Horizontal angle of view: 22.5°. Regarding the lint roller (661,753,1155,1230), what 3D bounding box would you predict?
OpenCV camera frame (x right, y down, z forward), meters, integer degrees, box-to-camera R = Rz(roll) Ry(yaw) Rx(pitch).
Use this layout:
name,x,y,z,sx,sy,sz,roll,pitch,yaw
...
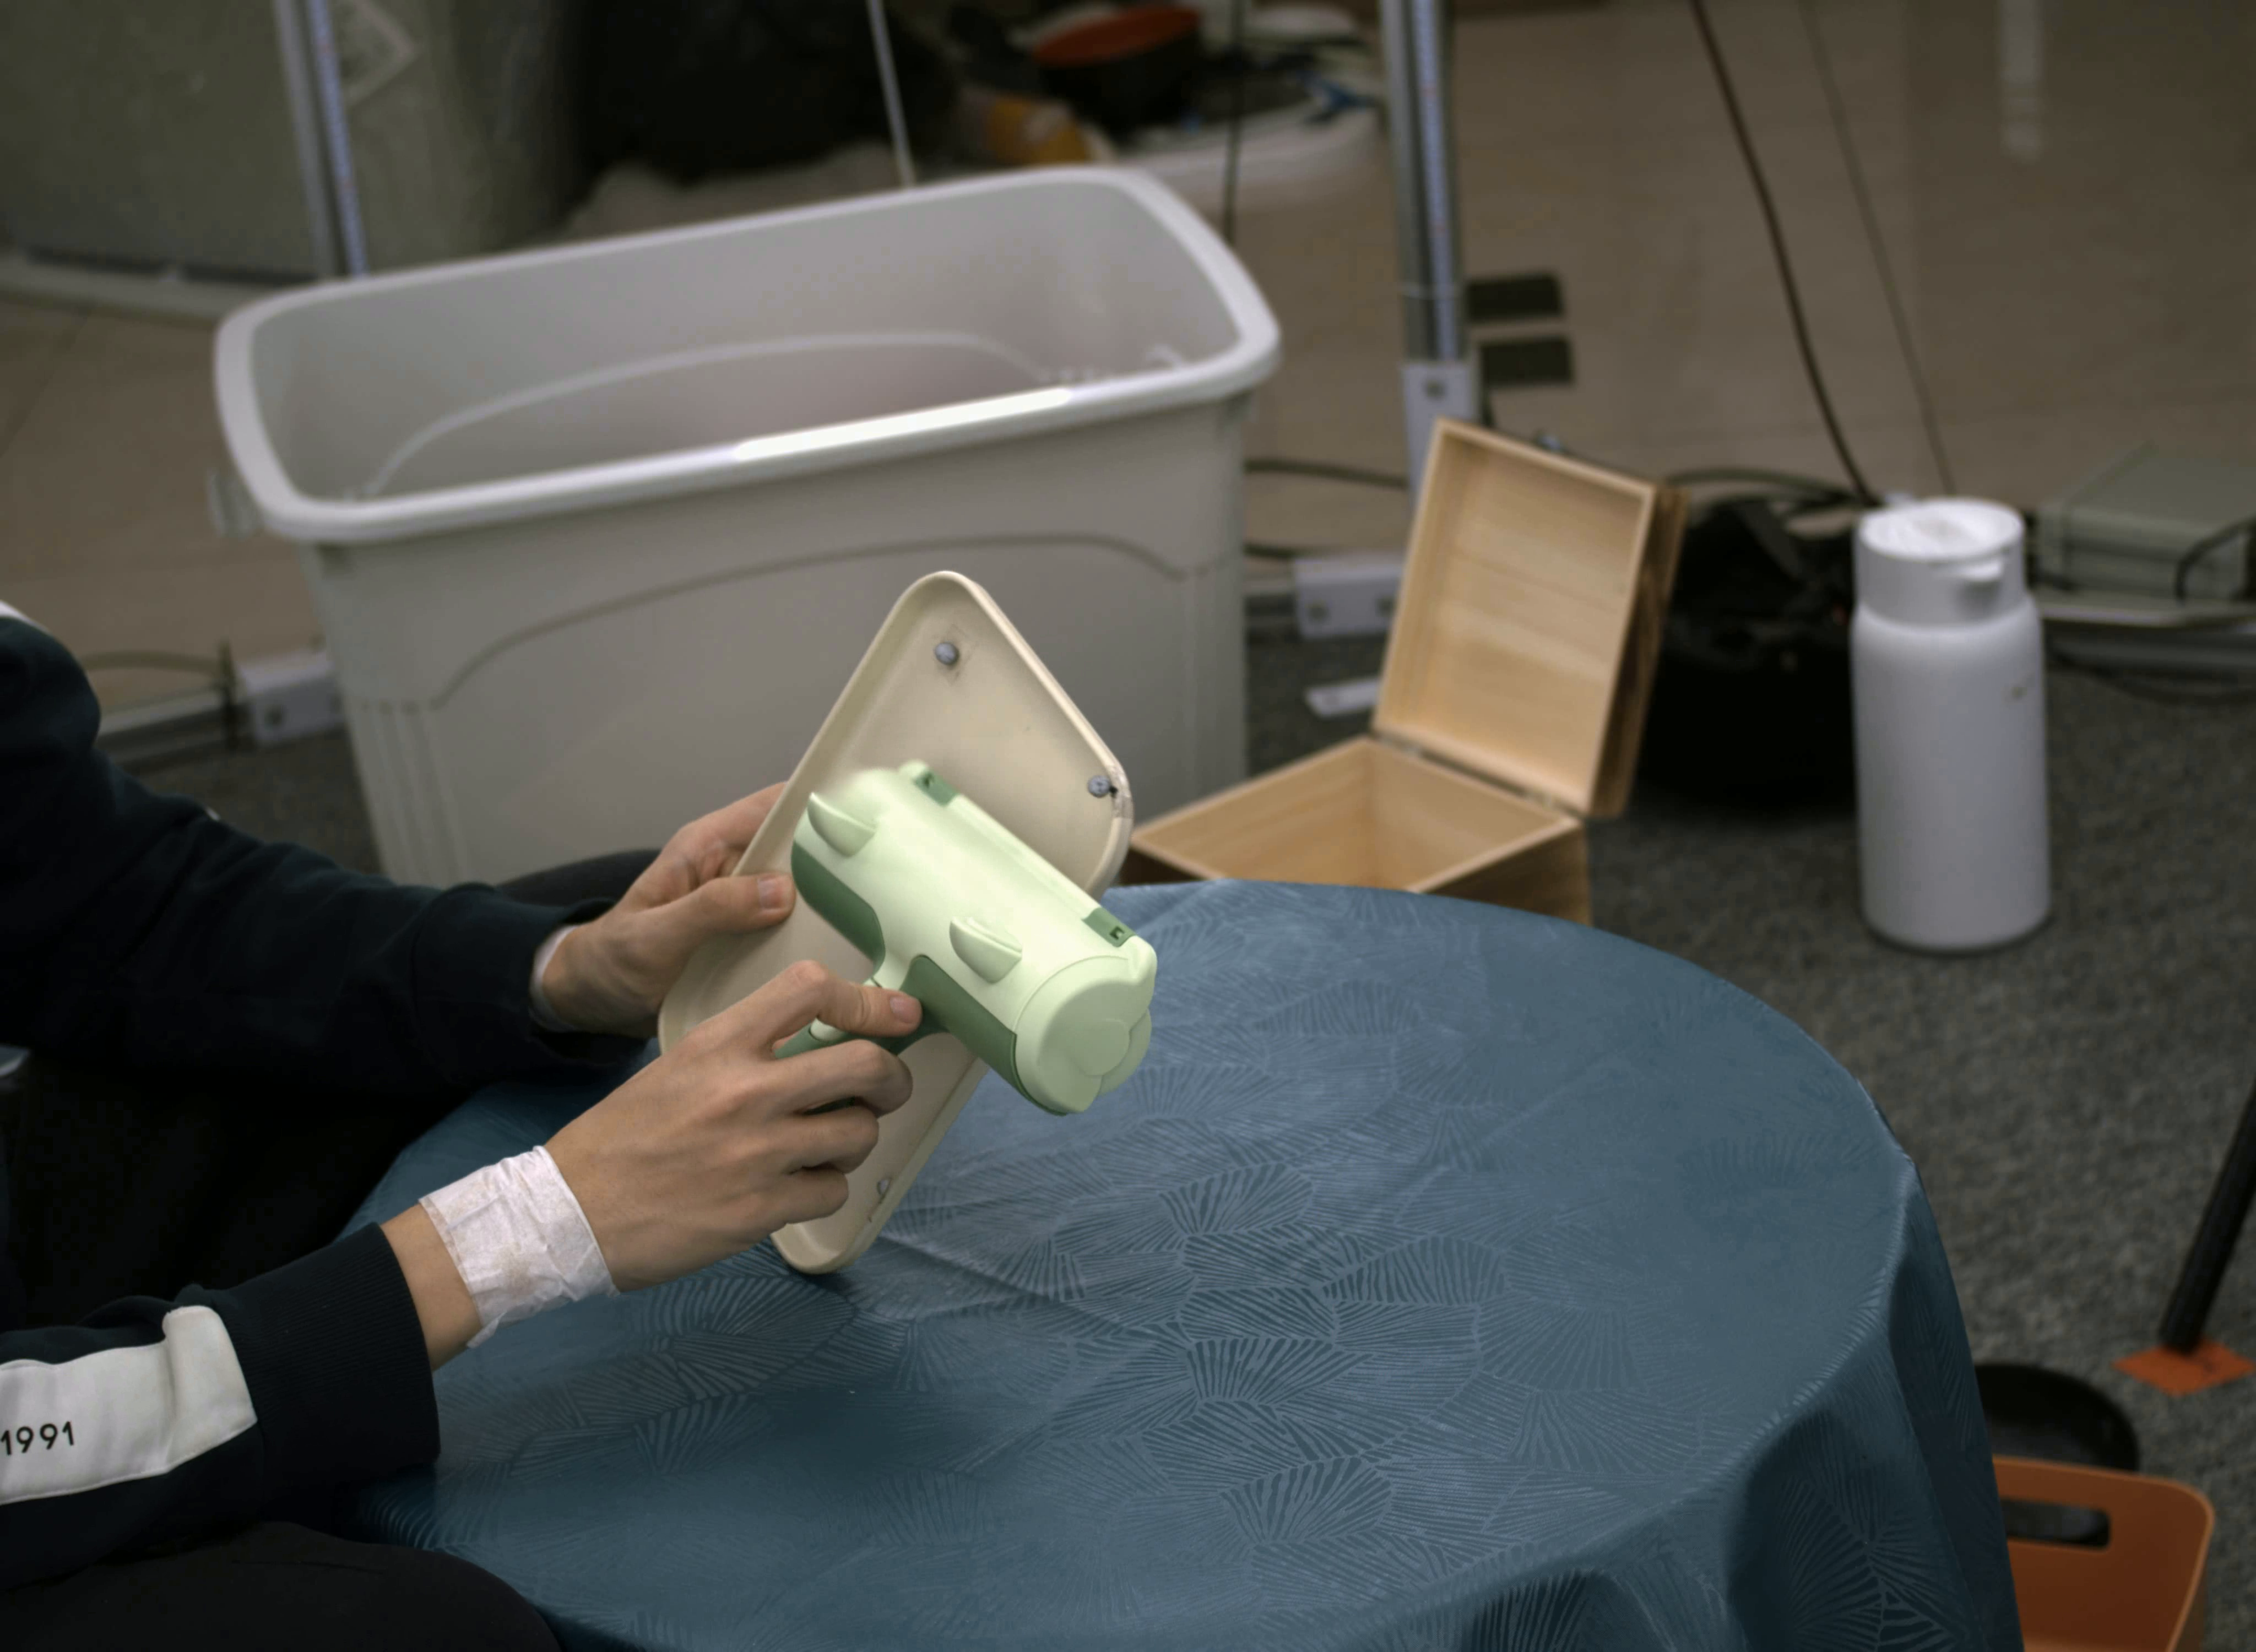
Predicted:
name,x,y,z,sx,sy,sz,roll,pitch,yaw
lint roller,-0.105,0.065,2.015,0.182,0.083,0.196,-37,38,-9

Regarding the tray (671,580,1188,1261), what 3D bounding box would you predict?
name,x,y,z,sx,sy,sz,roll,pitch,yaw
tray,-0.075,0.036,2.126,0.017,0.242,0.168,22,24,-42
